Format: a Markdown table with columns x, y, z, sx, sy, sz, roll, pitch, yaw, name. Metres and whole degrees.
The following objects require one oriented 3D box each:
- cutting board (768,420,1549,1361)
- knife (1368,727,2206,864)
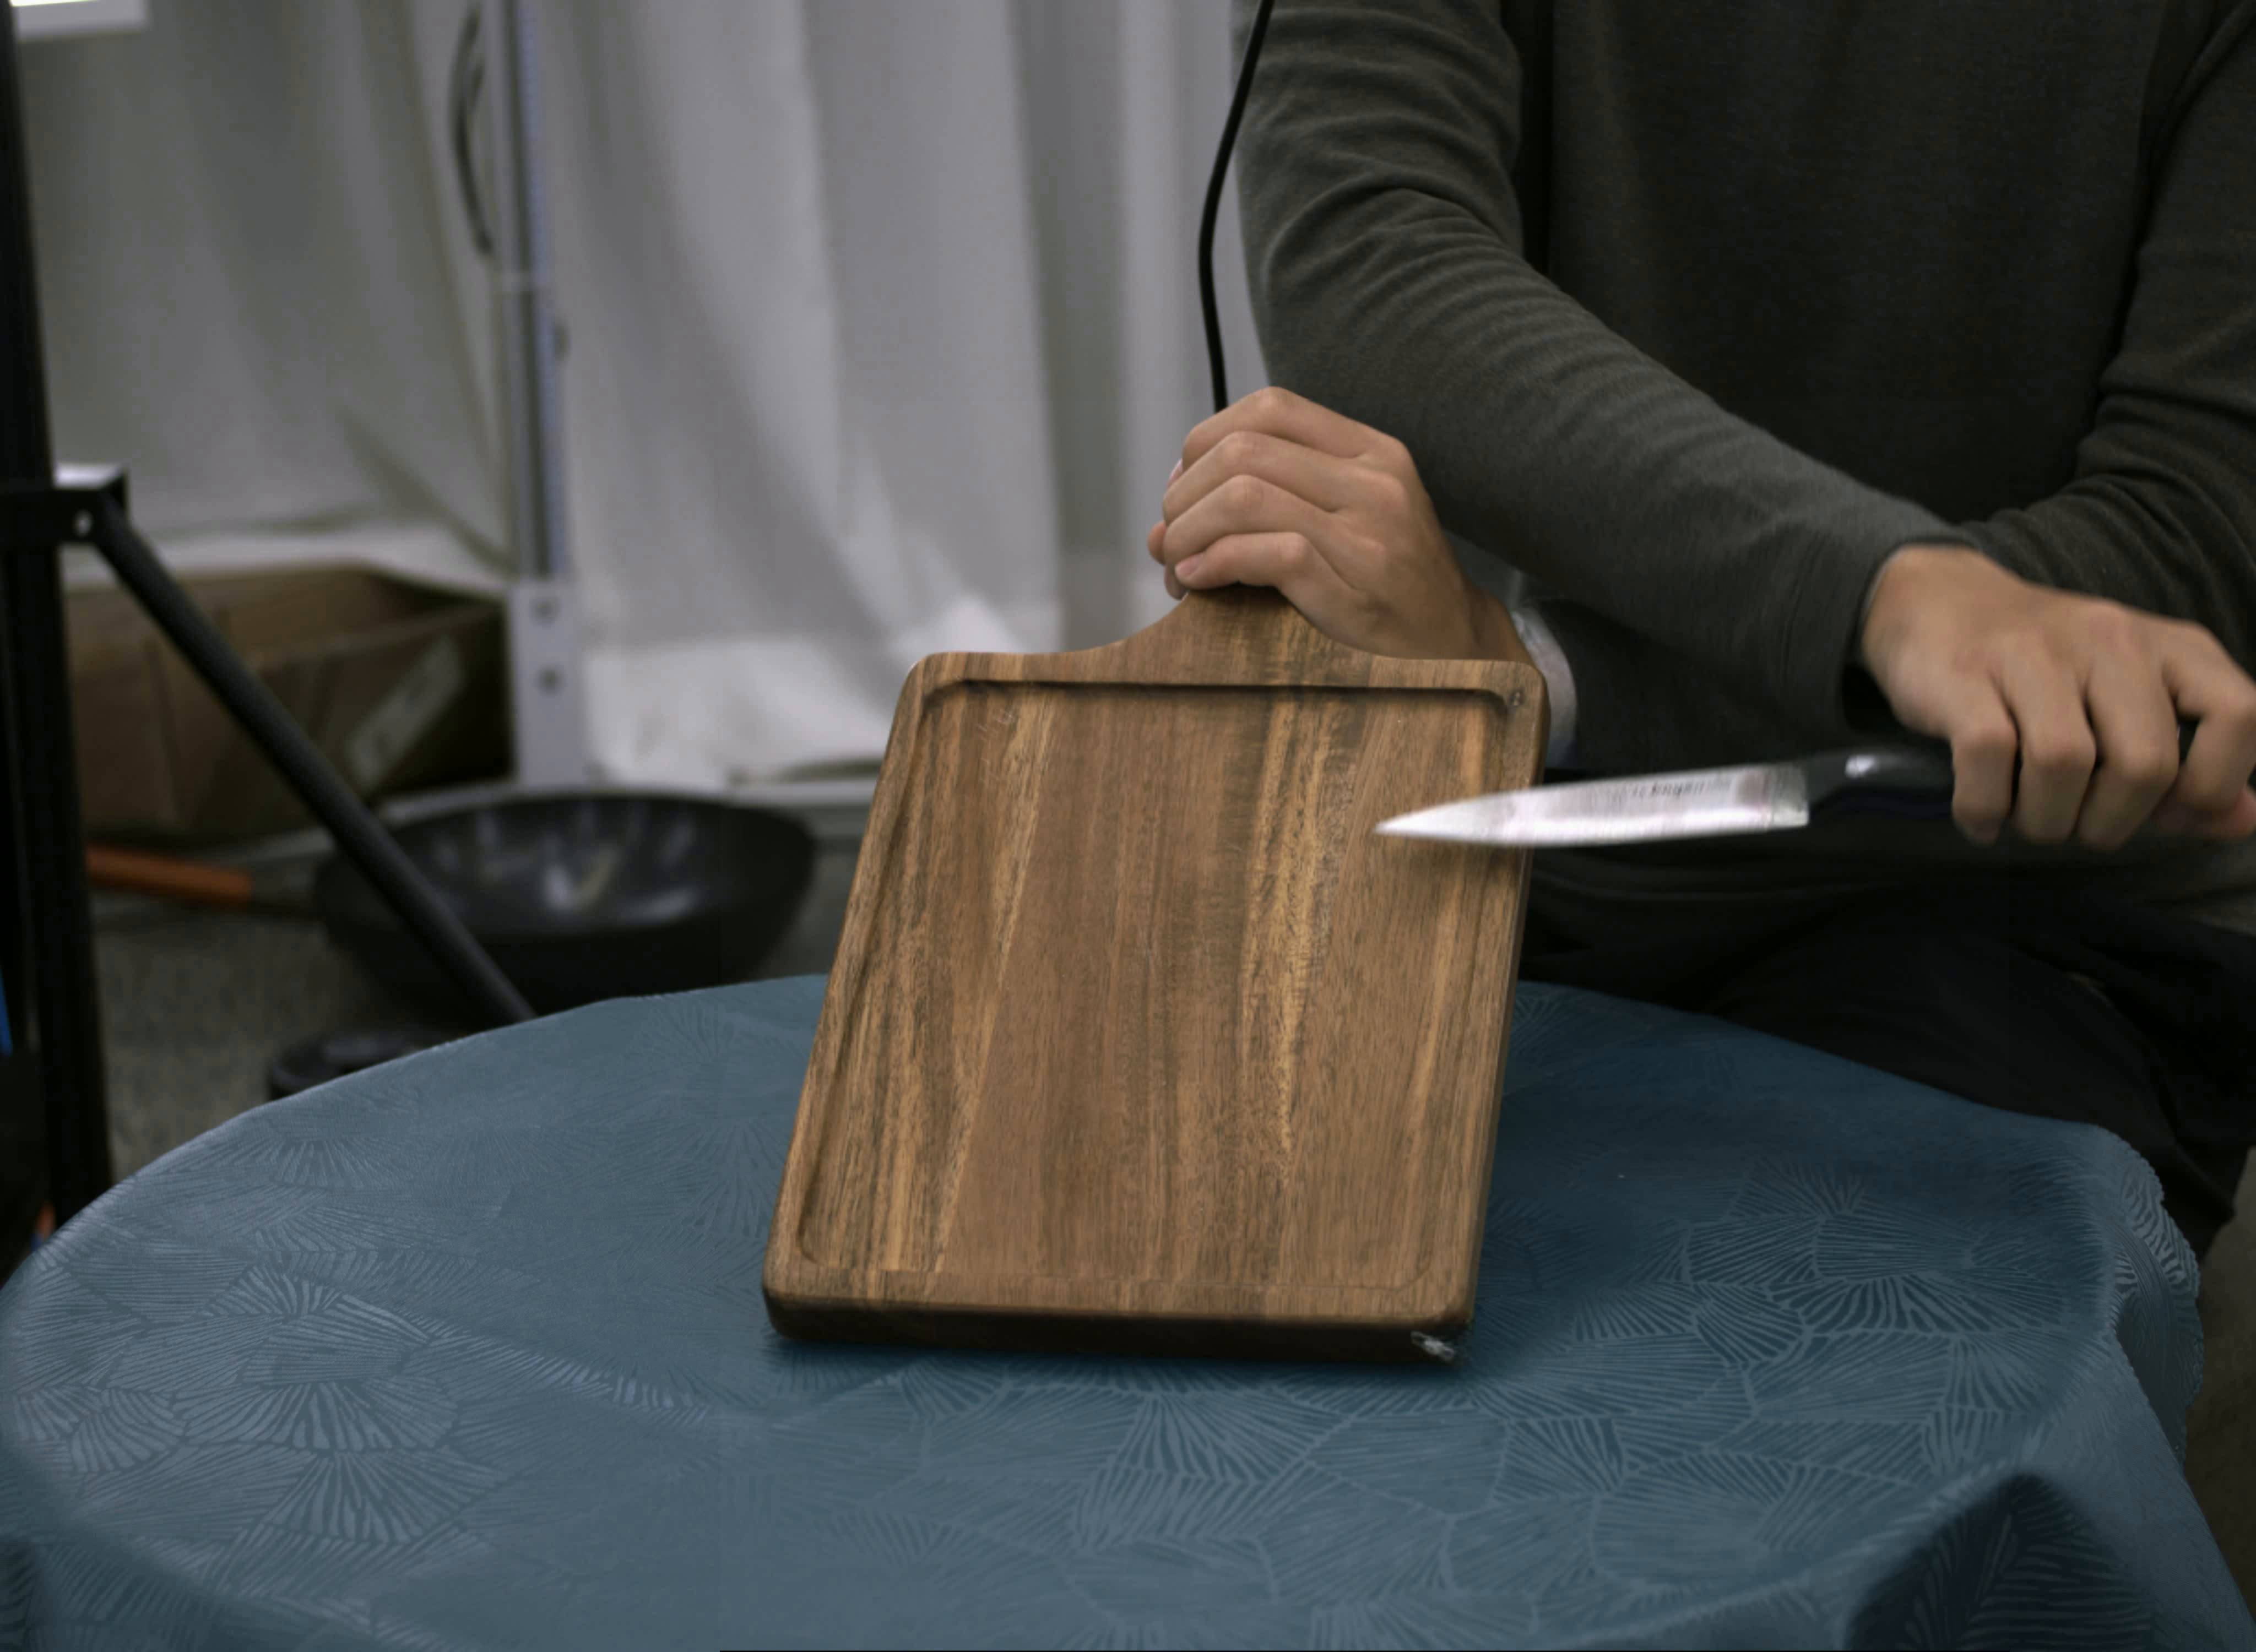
| x | y | z | sx | sy | sz | roll | pitch | yaw | name |
| --- | --- | --- | --- | --- | --- | --- | --- | --- | --- |
| 0.020 | 0.009 | 1.548 | 0.202 | 0.023 | 0.354 | 0 | 47 | 12 | cutting board |
| 0.184 | -0.006 | 1.489 | 0.239 | 0.016 | 0.024 | -6 | 44 | 14 | knife |
